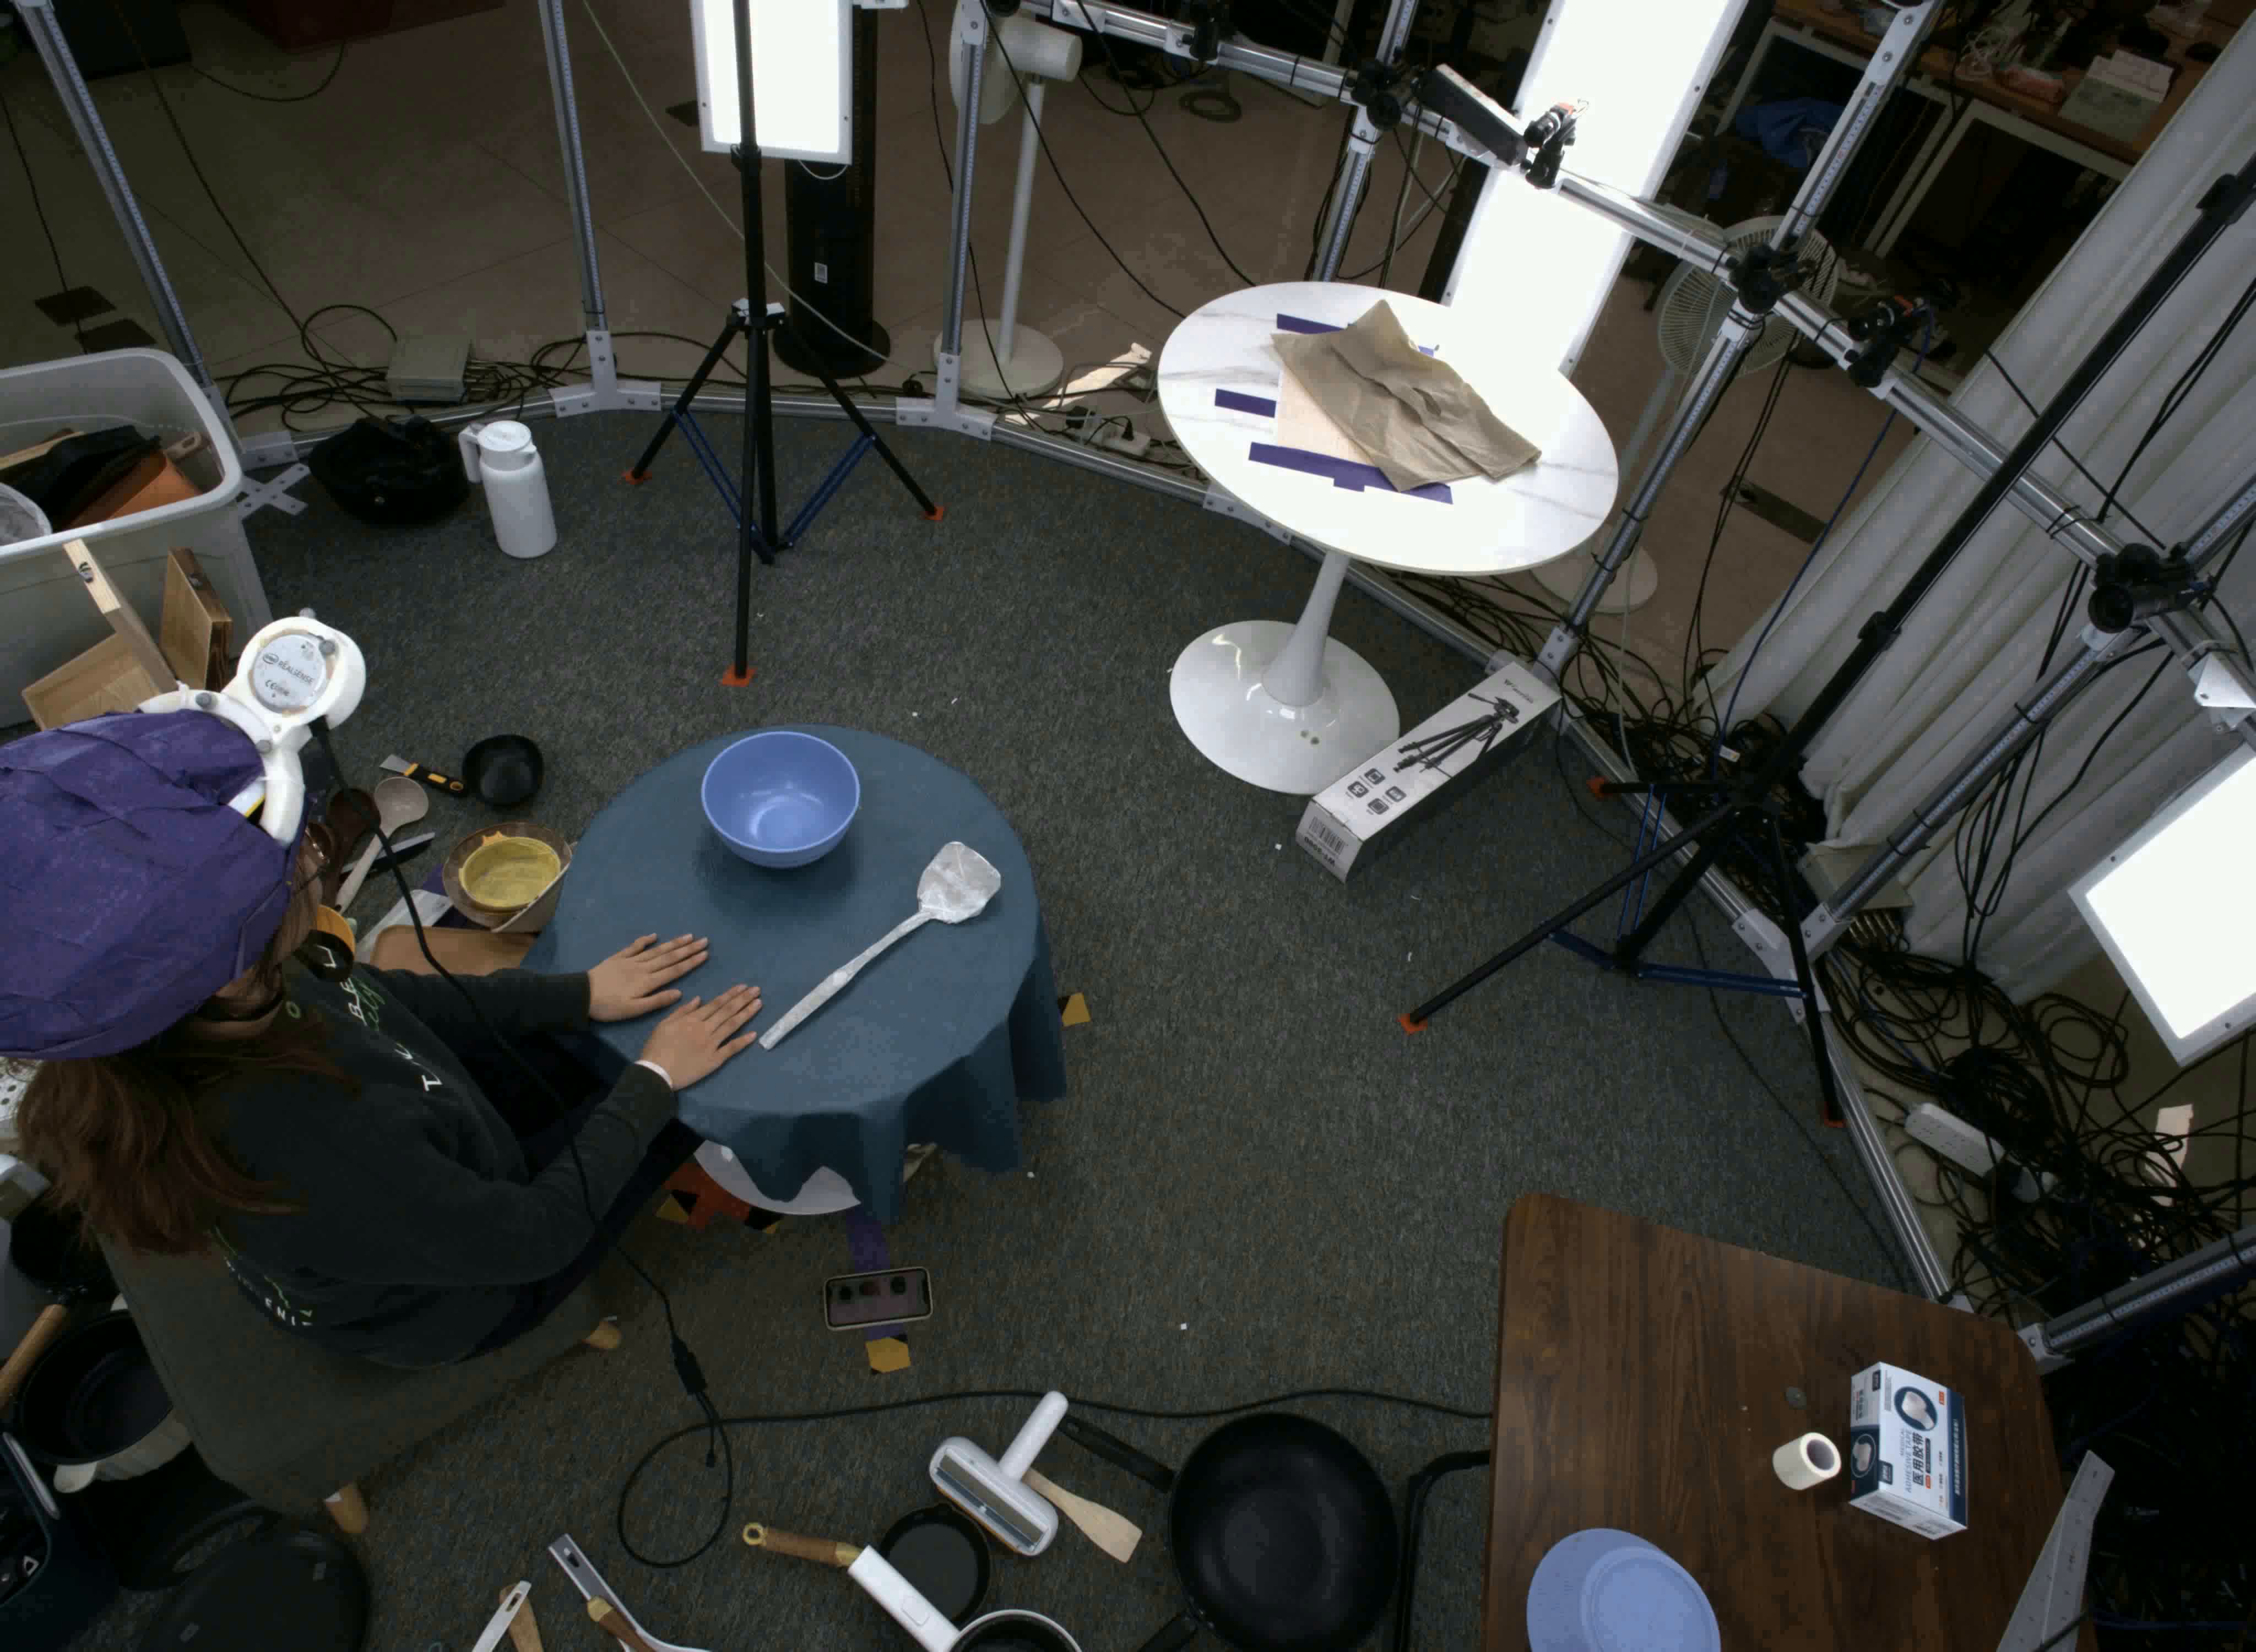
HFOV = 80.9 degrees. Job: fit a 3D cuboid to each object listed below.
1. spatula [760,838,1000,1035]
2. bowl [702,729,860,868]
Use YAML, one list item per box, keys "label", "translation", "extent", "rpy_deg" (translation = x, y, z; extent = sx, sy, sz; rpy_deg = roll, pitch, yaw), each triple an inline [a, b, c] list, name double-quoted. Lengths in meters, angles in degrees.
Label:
- label: "spatula"
  translation: [-0.311, 0.143, 1.627]
  extent: [0.097, 0.045, 0.365]
  rpy_deg: [41, 55, 15]
- label: "bowl"
  translation: [-0.448, -0.020, 1.676]
  extent: [0.196, 0.097, 0.193]
  rpy_deg: [9, 52, -10]
